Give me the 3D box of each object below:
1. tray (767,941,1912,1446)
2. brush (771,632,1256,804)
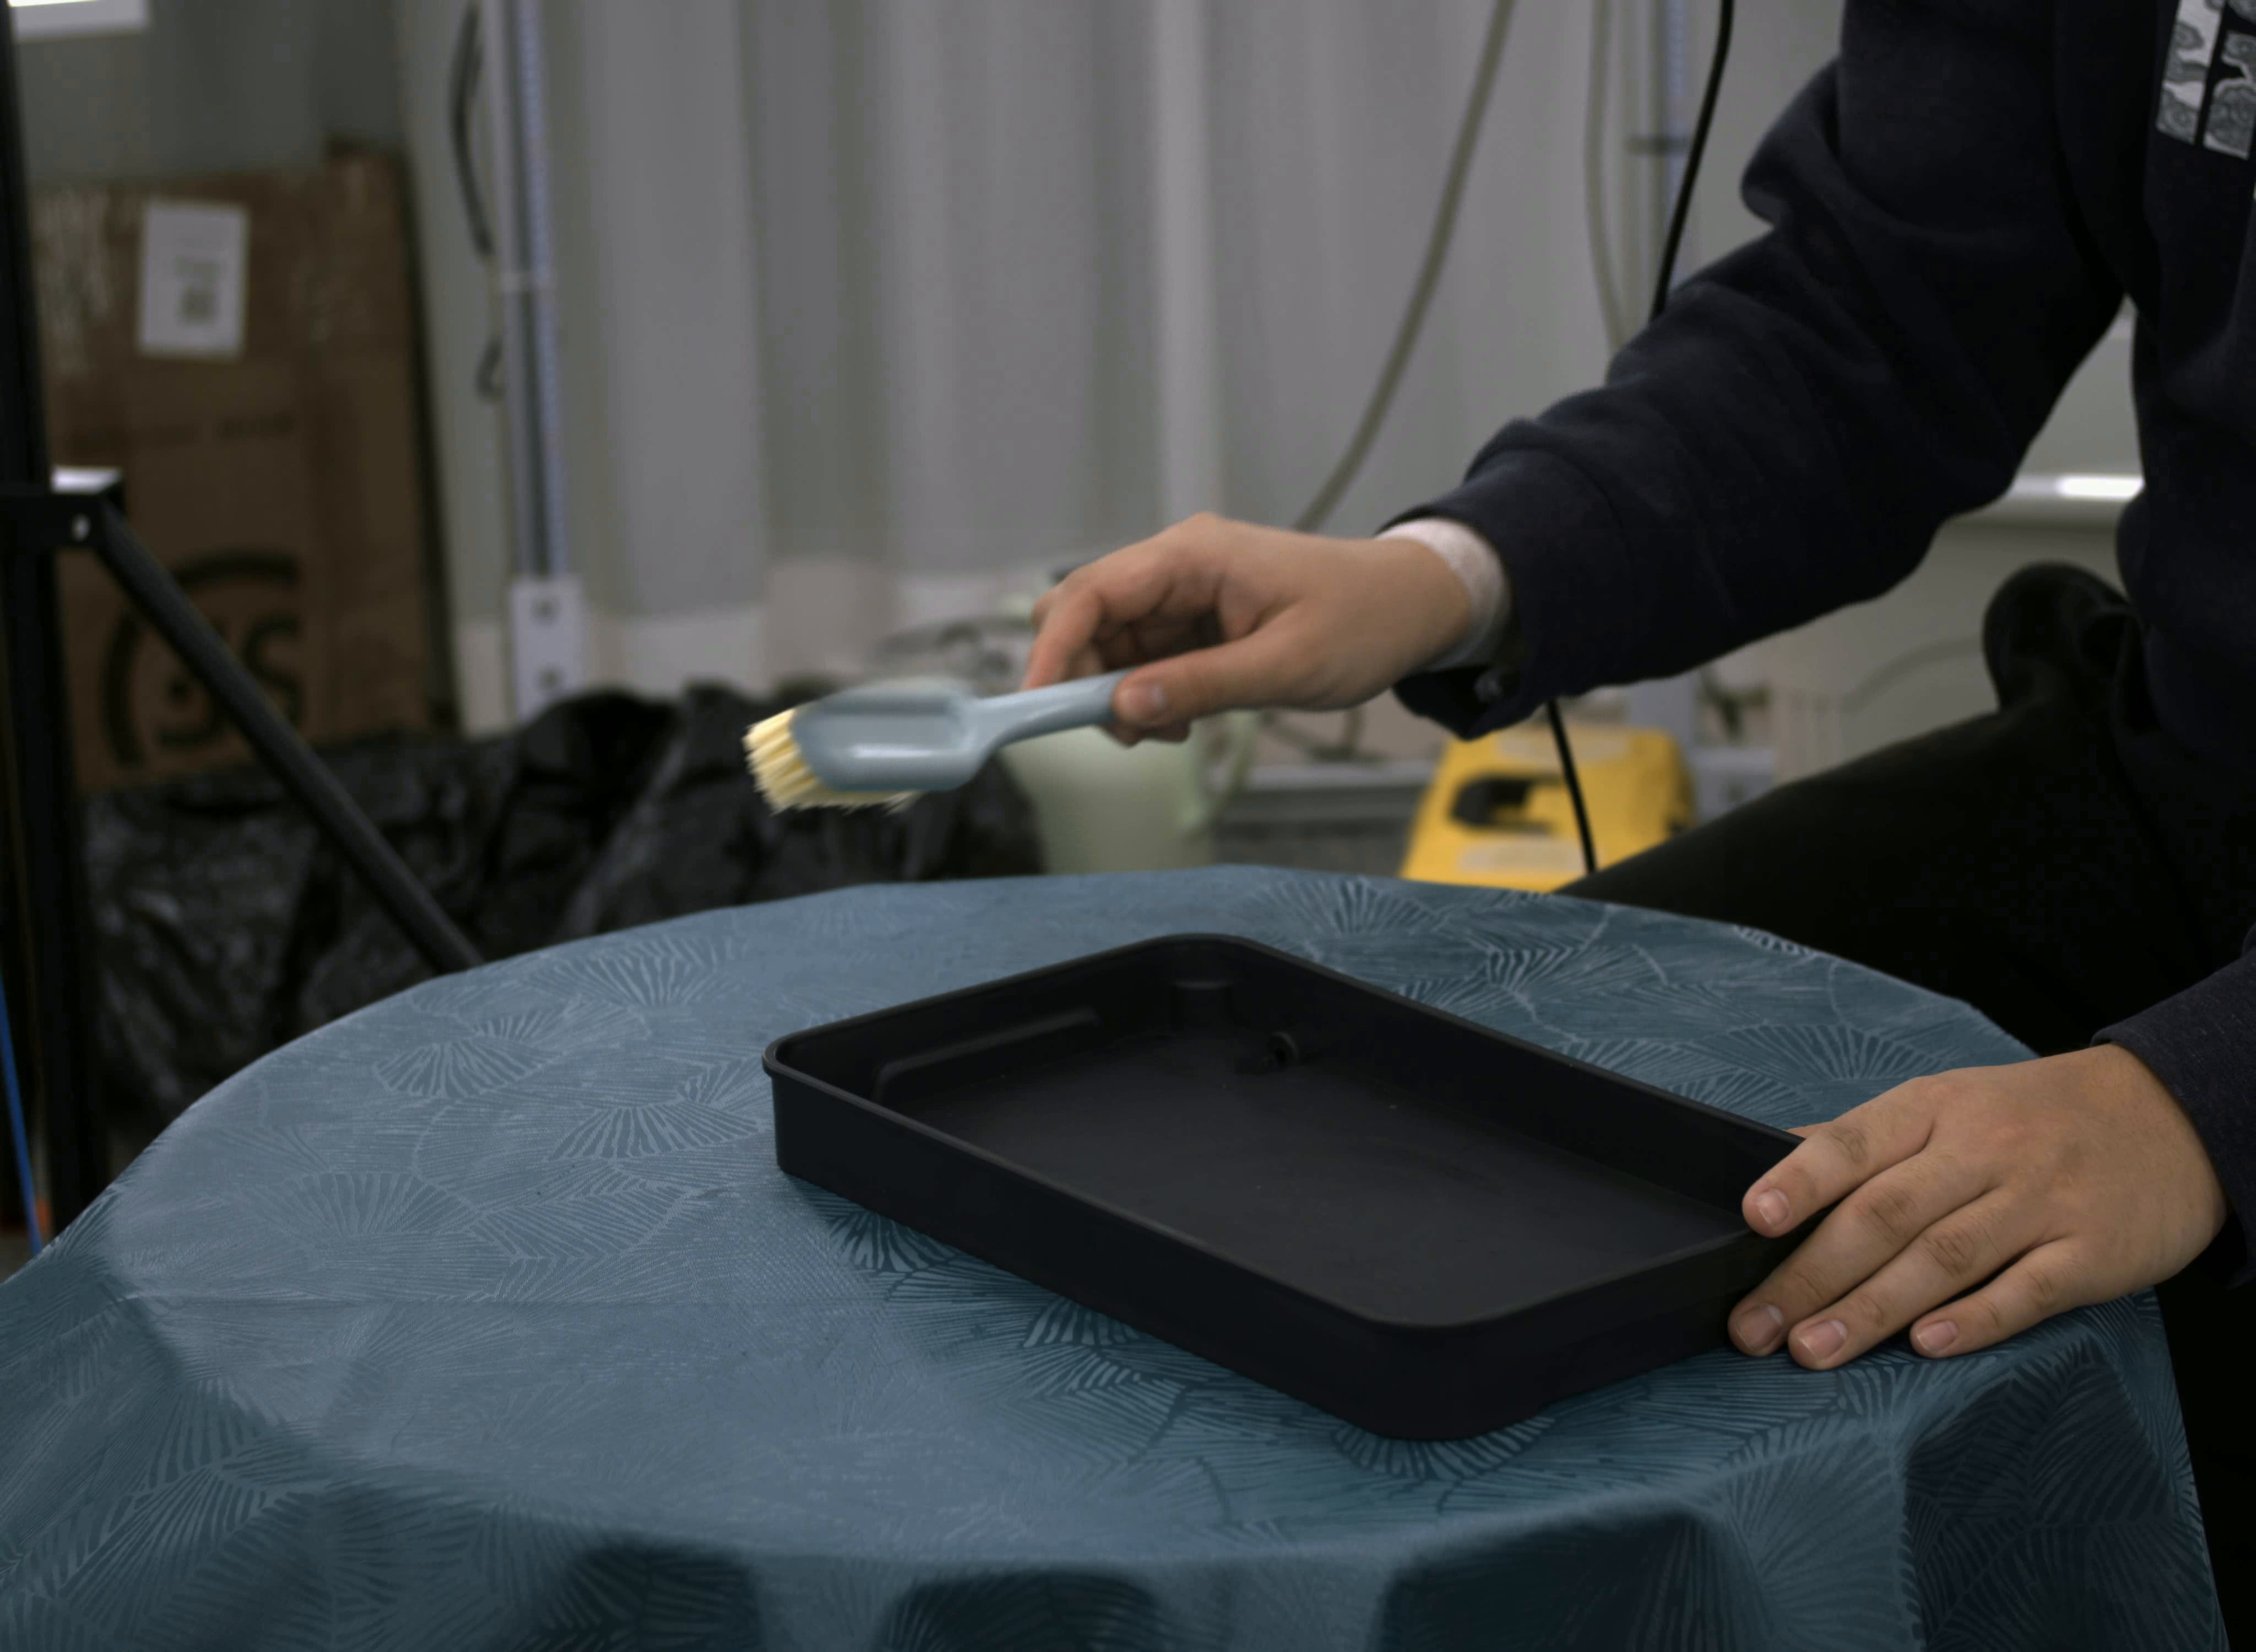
[{"bbox_3d":[0.054,0.099,1.517,0.180,0.037,0.325,-13,19,-36],"label":"tray"},{"bbox_3d":[-0.033,-0.037,1.713,0.223,0.038,0.050,-13,-21,-50],"label":"brush"}]
